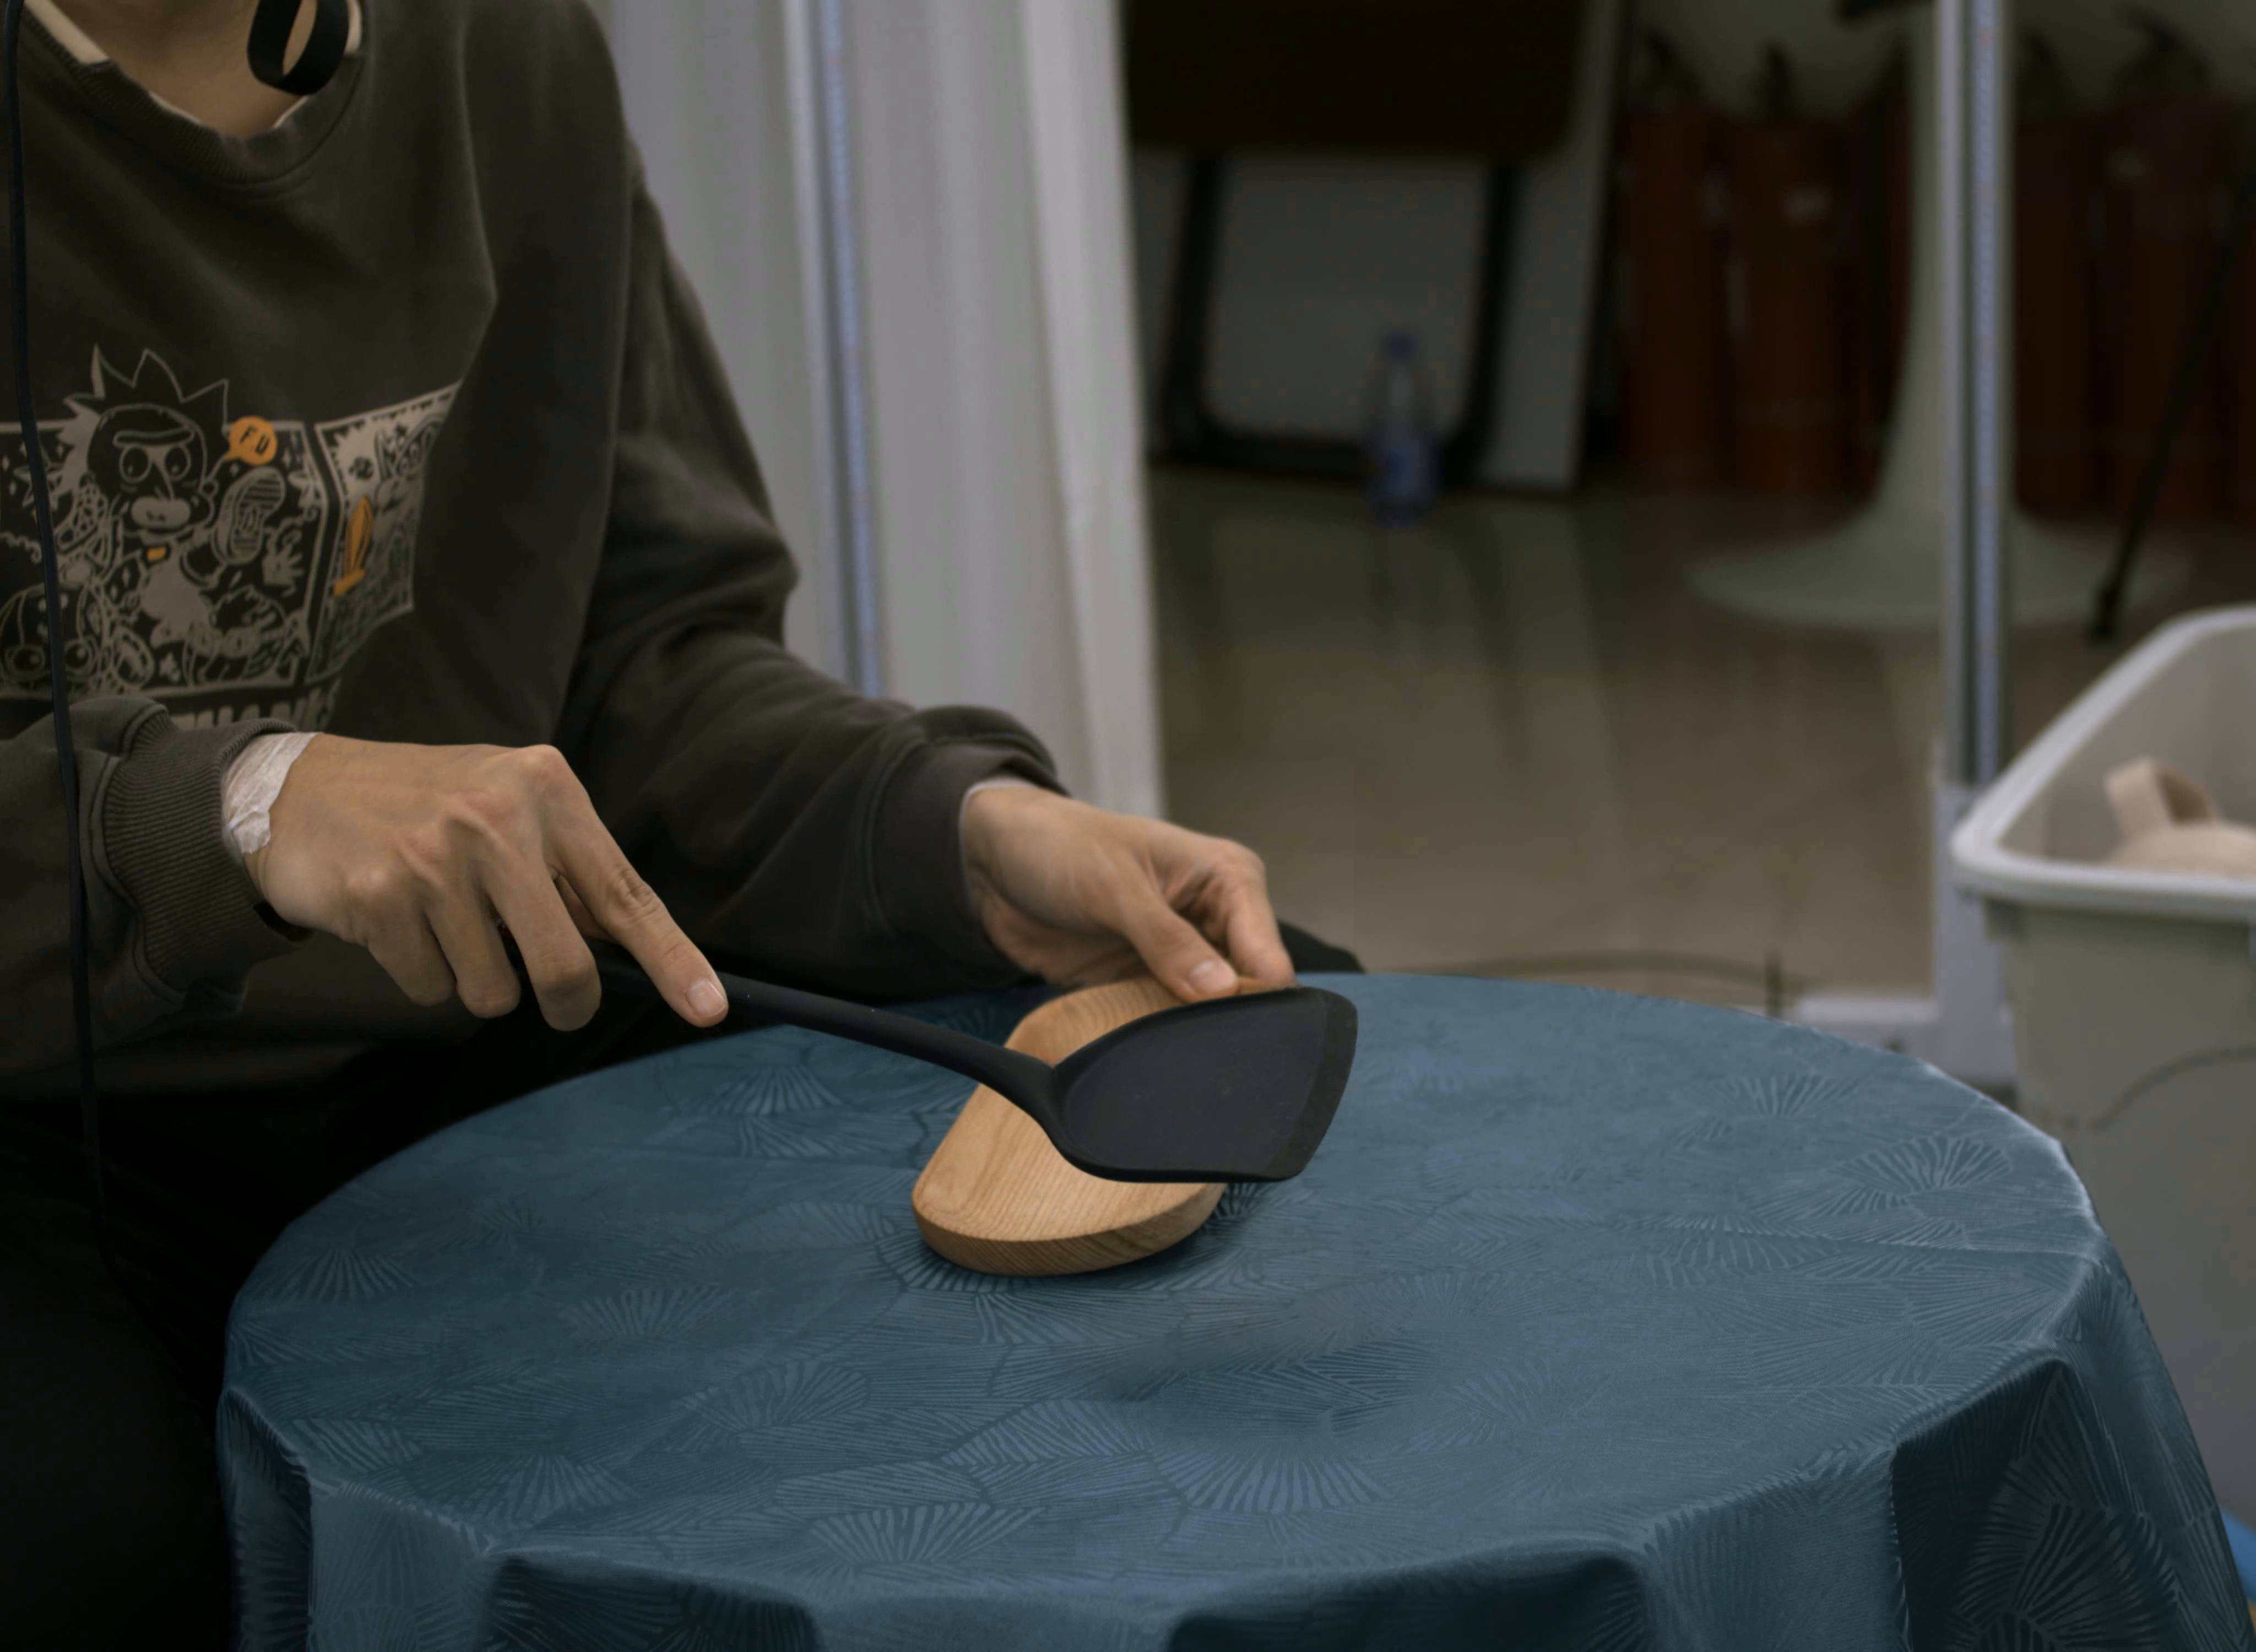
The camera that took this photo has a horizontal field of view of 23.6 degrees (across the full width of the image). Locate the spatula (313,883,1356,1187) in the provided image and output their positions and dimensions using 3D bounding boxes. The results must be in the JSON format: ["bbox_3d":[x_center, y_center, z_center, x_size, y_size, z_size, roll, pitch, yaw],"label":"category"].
[{"bbox_3d":[-0.093,0.052,1.638,0.324,0.041,0.099,15,34,7],"label":"spatula"}]

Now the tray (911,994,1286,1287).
[{"bbox_3d":[-0.004,0.102,1.789,0.101,0.020,0.230,-4,19,15],"label":"tray"}]
